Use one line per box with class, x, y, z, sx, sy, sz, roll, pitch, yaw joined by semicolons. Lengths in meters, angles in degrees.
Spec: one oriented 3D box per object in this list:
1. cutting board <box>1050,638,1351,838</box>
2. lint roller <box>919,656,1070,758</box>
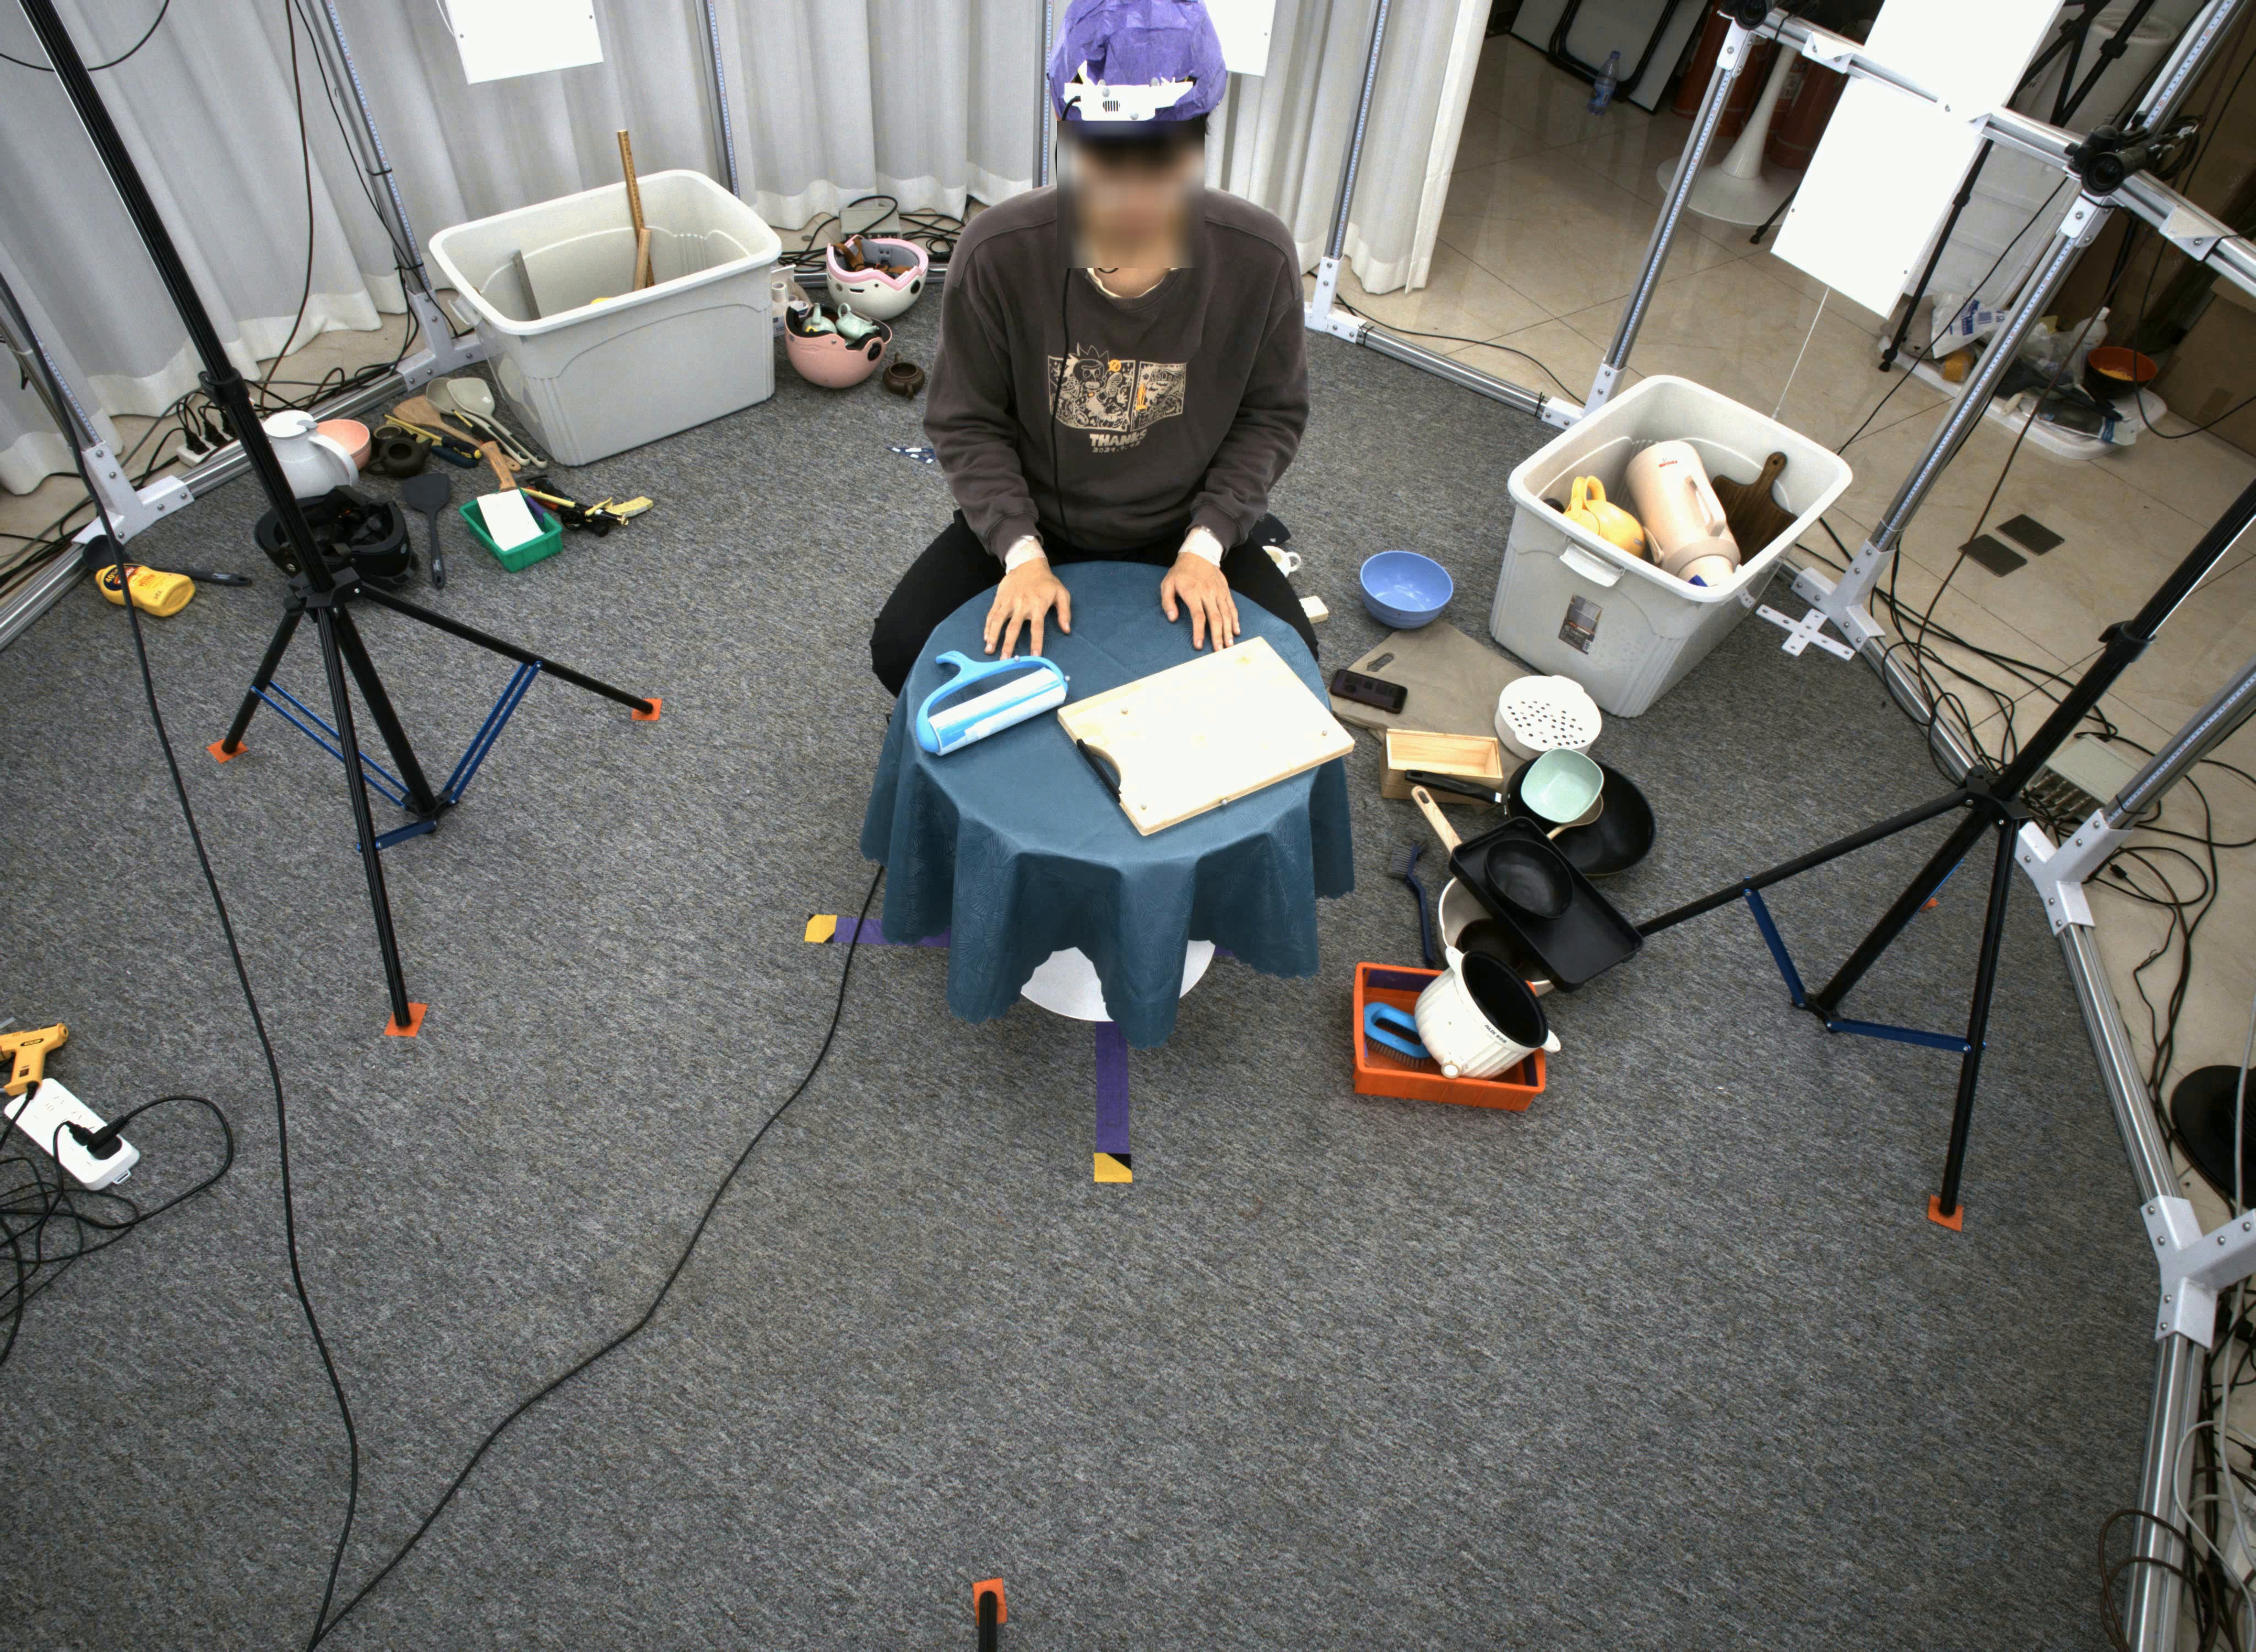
cutting board;0.102;-0.131;1.775;0.350;0.023;0.256;-22;53;-21
lint roller;-0.214;-0.193;1.784;0.230;0.066;0.183;-29;57;-25
